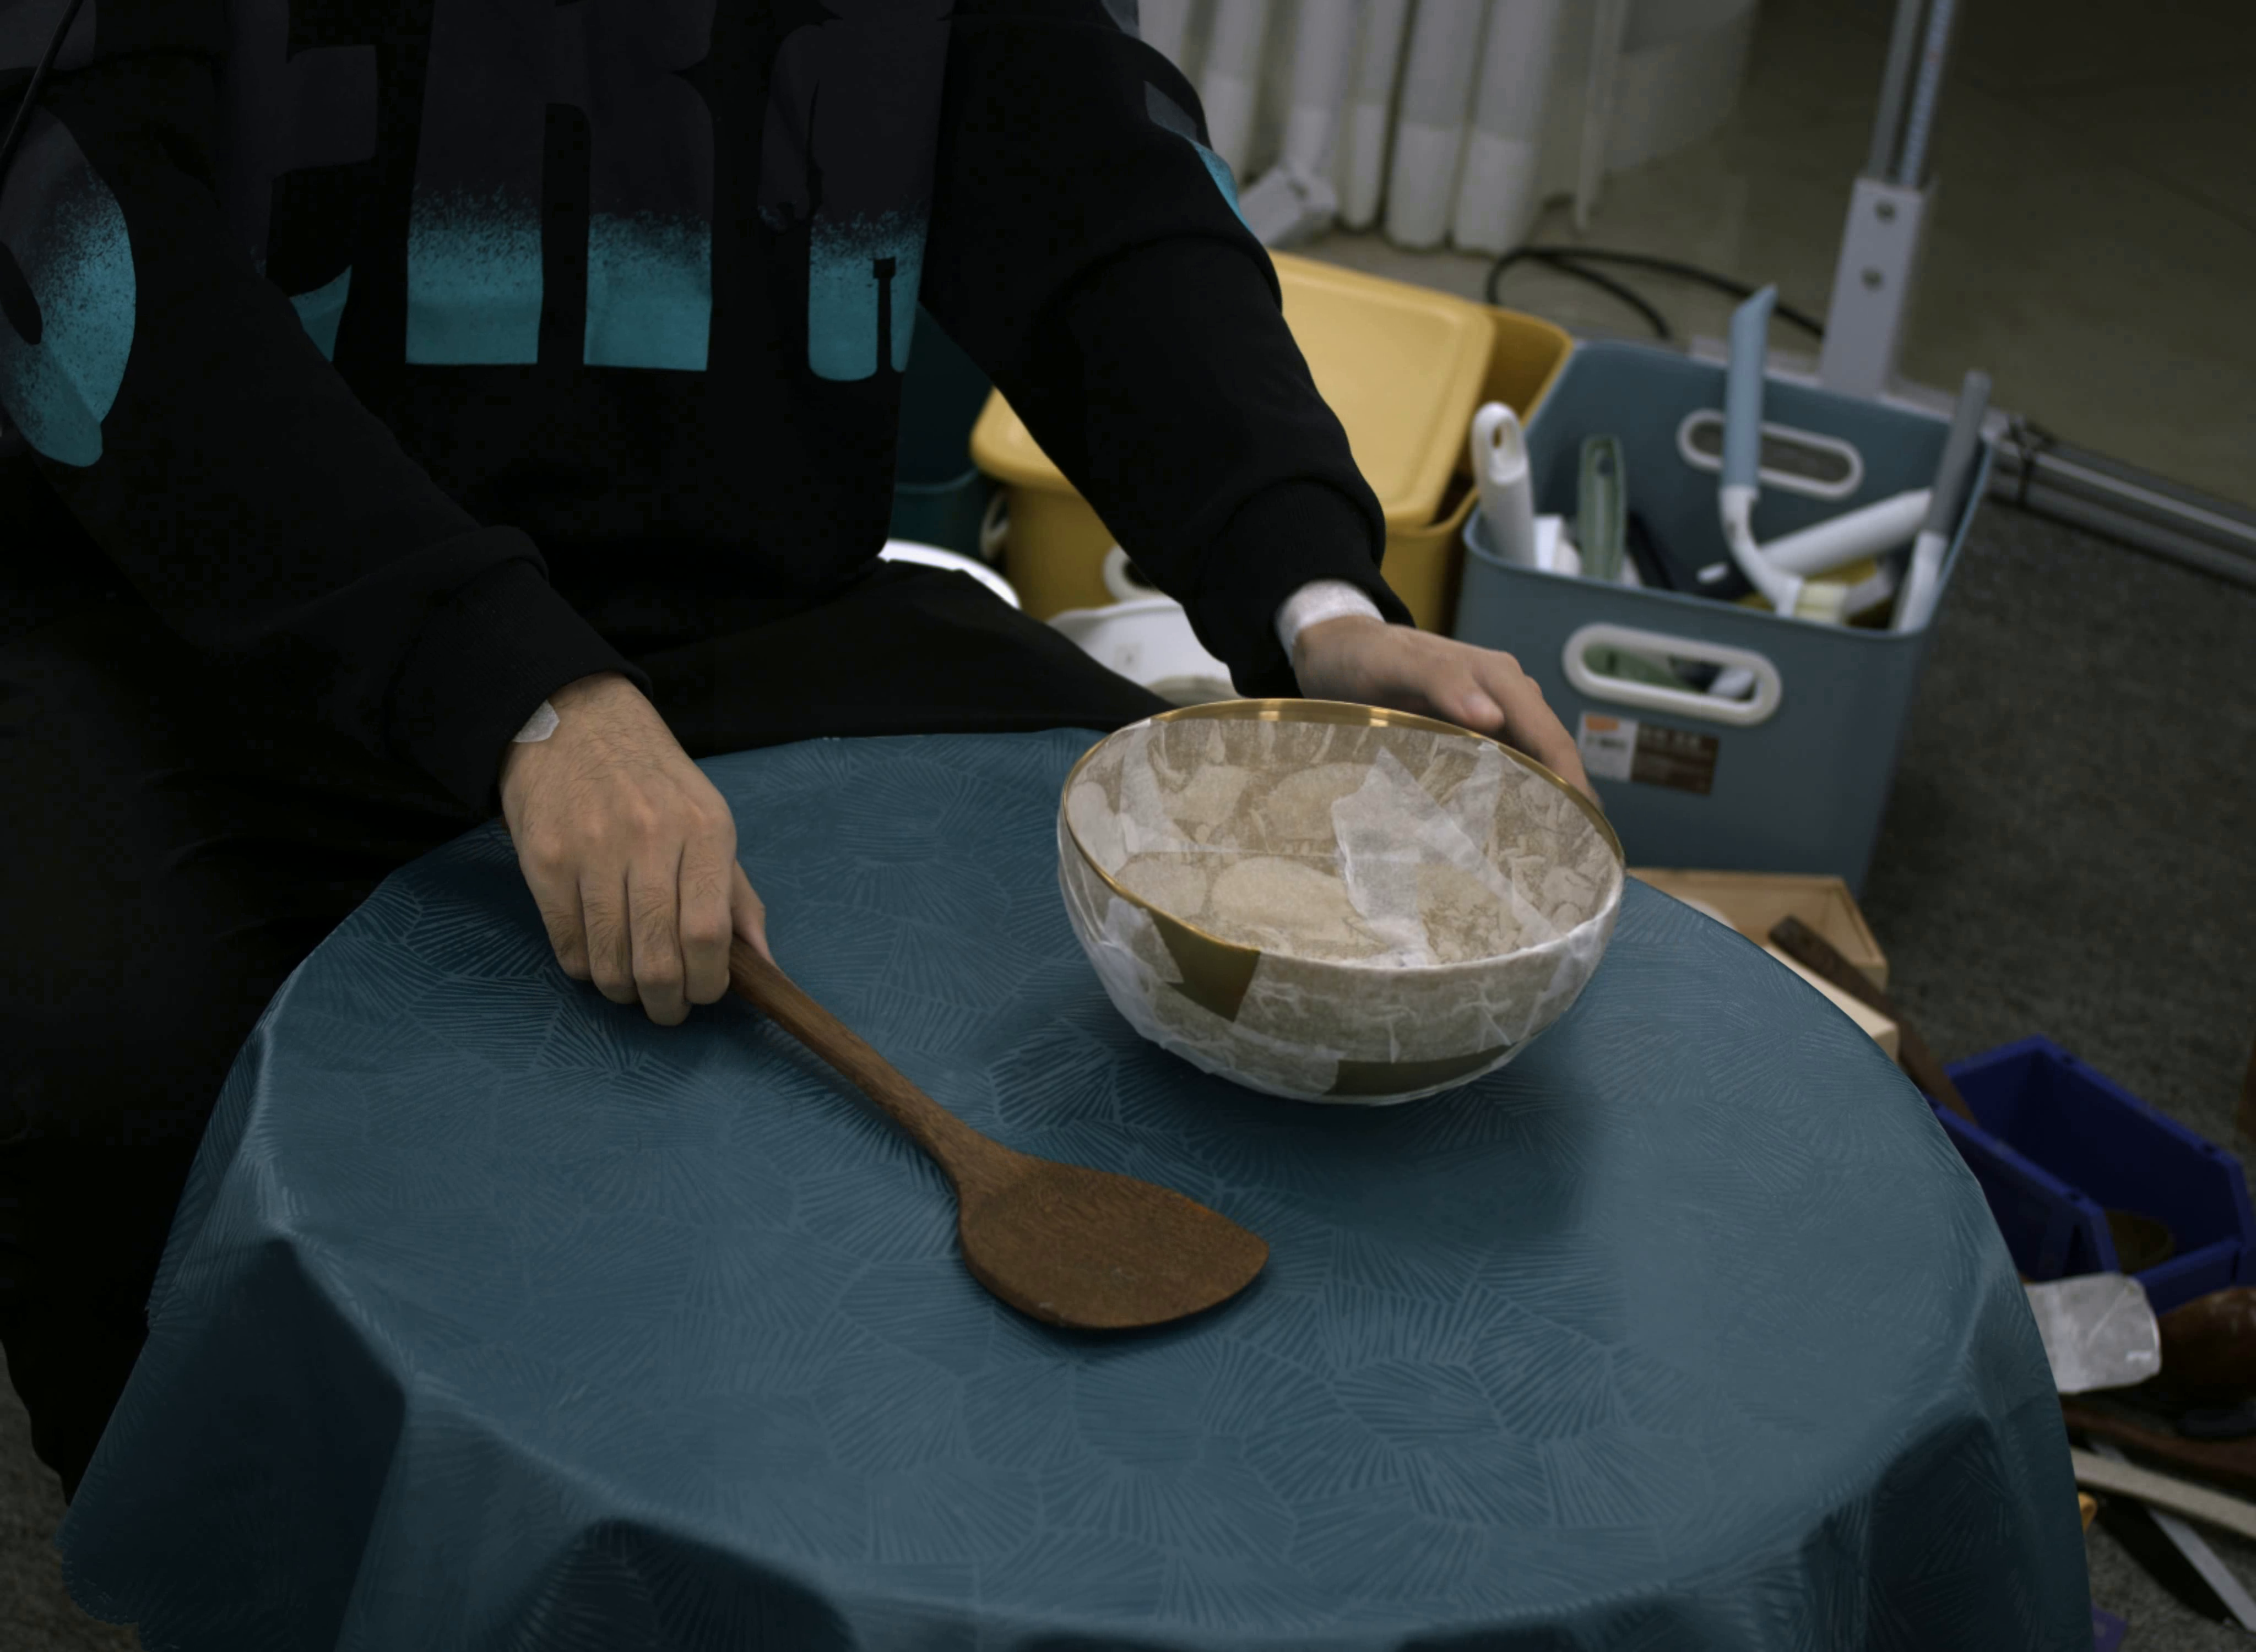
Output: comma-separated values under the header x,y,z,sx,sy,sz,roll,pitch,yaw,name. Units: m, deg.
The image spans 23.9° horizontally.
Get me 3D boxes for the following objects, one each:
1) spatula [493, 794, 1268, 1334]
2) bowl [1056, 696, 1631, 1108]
x,y,z,sx,sy,sz,roll,pitch,yaw,name
-0.104,0.074,1.845,0.095,0.016,0.389,-16,38,-39,spatula
0.072,0.038,1.883,0.214,0.094,0.216,4,26,-2,bowl
